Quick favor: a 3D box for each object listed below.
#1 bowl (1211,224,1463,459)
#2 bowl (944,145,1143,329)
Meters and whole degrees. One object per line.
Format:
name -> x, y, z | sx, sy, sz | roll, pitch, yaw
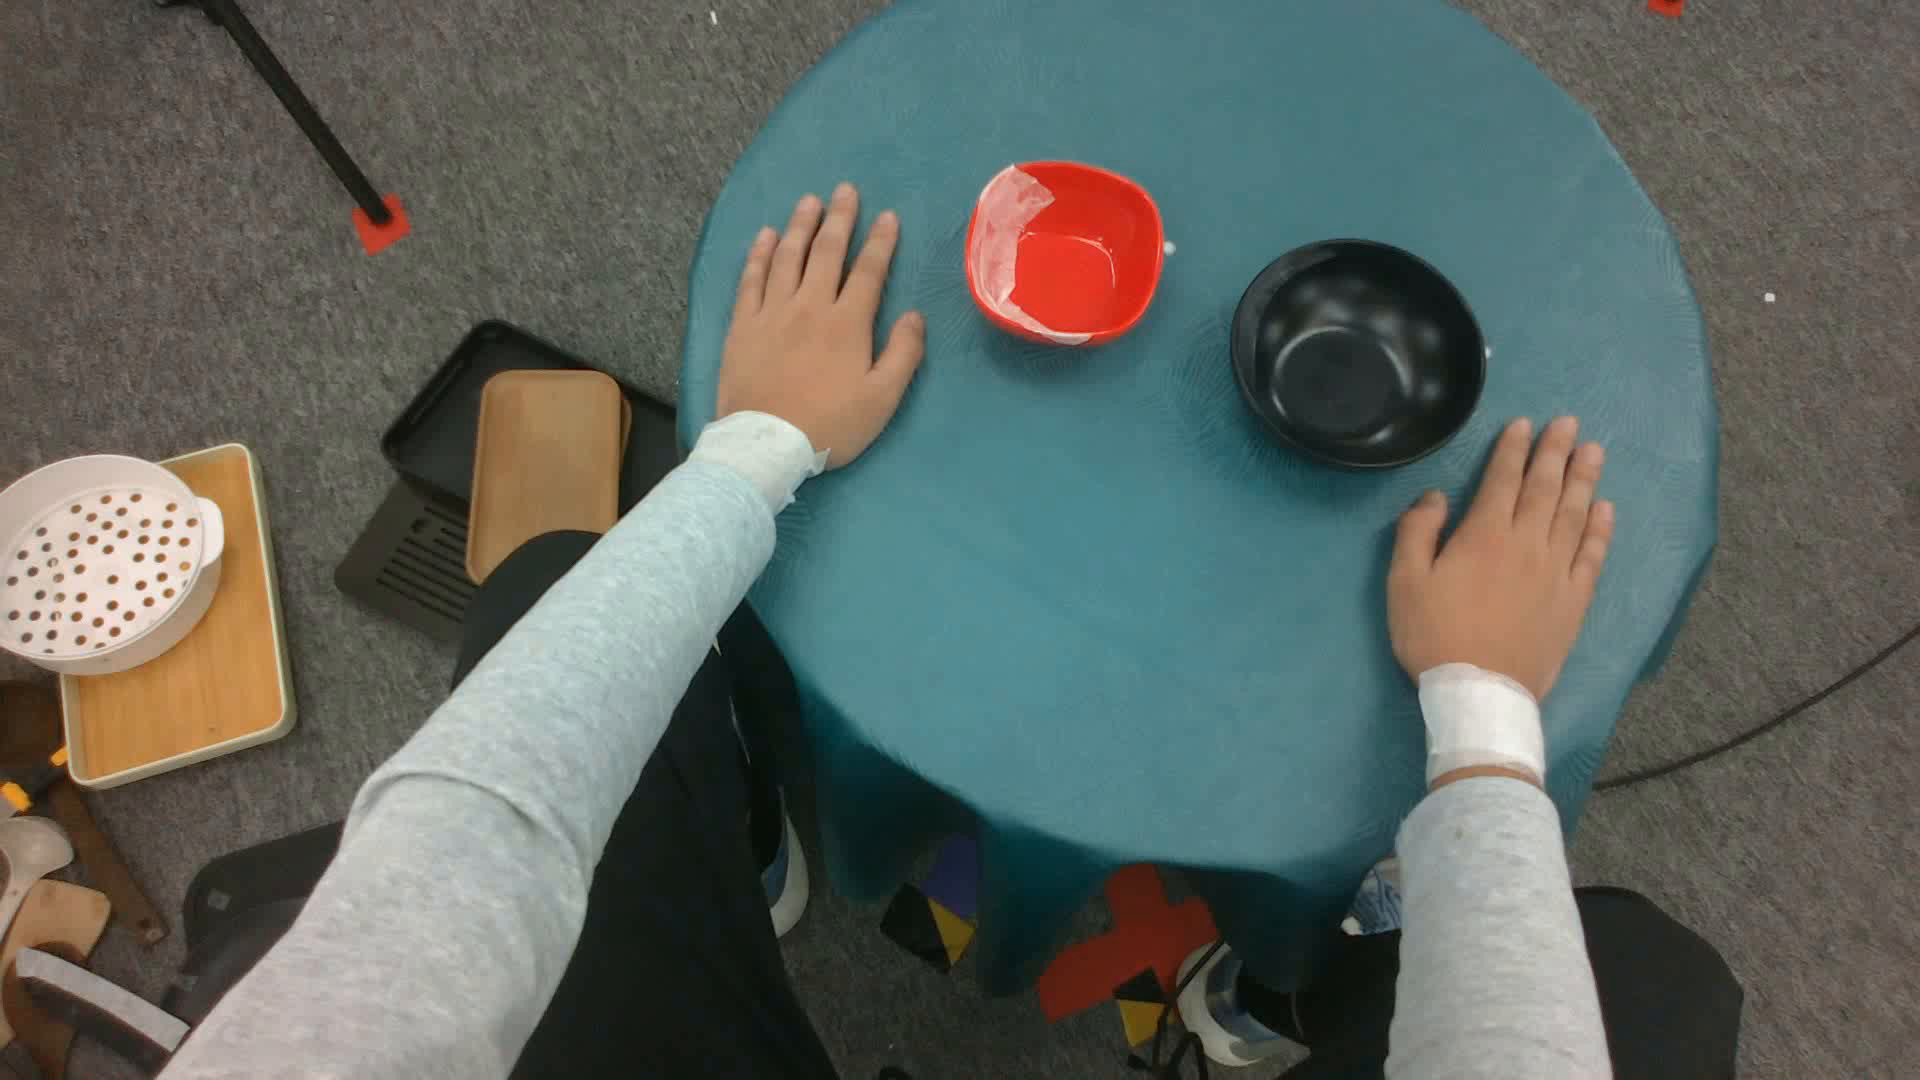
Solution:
bowl -> 0.207, -0.105, 0.776 | 0.140, 0.049, 0.140 | 0, 73, -1
bowl -> 0.046, -0.164, 0.787 | 0.119, 0.051, 0.119 | 1, 70, -3
